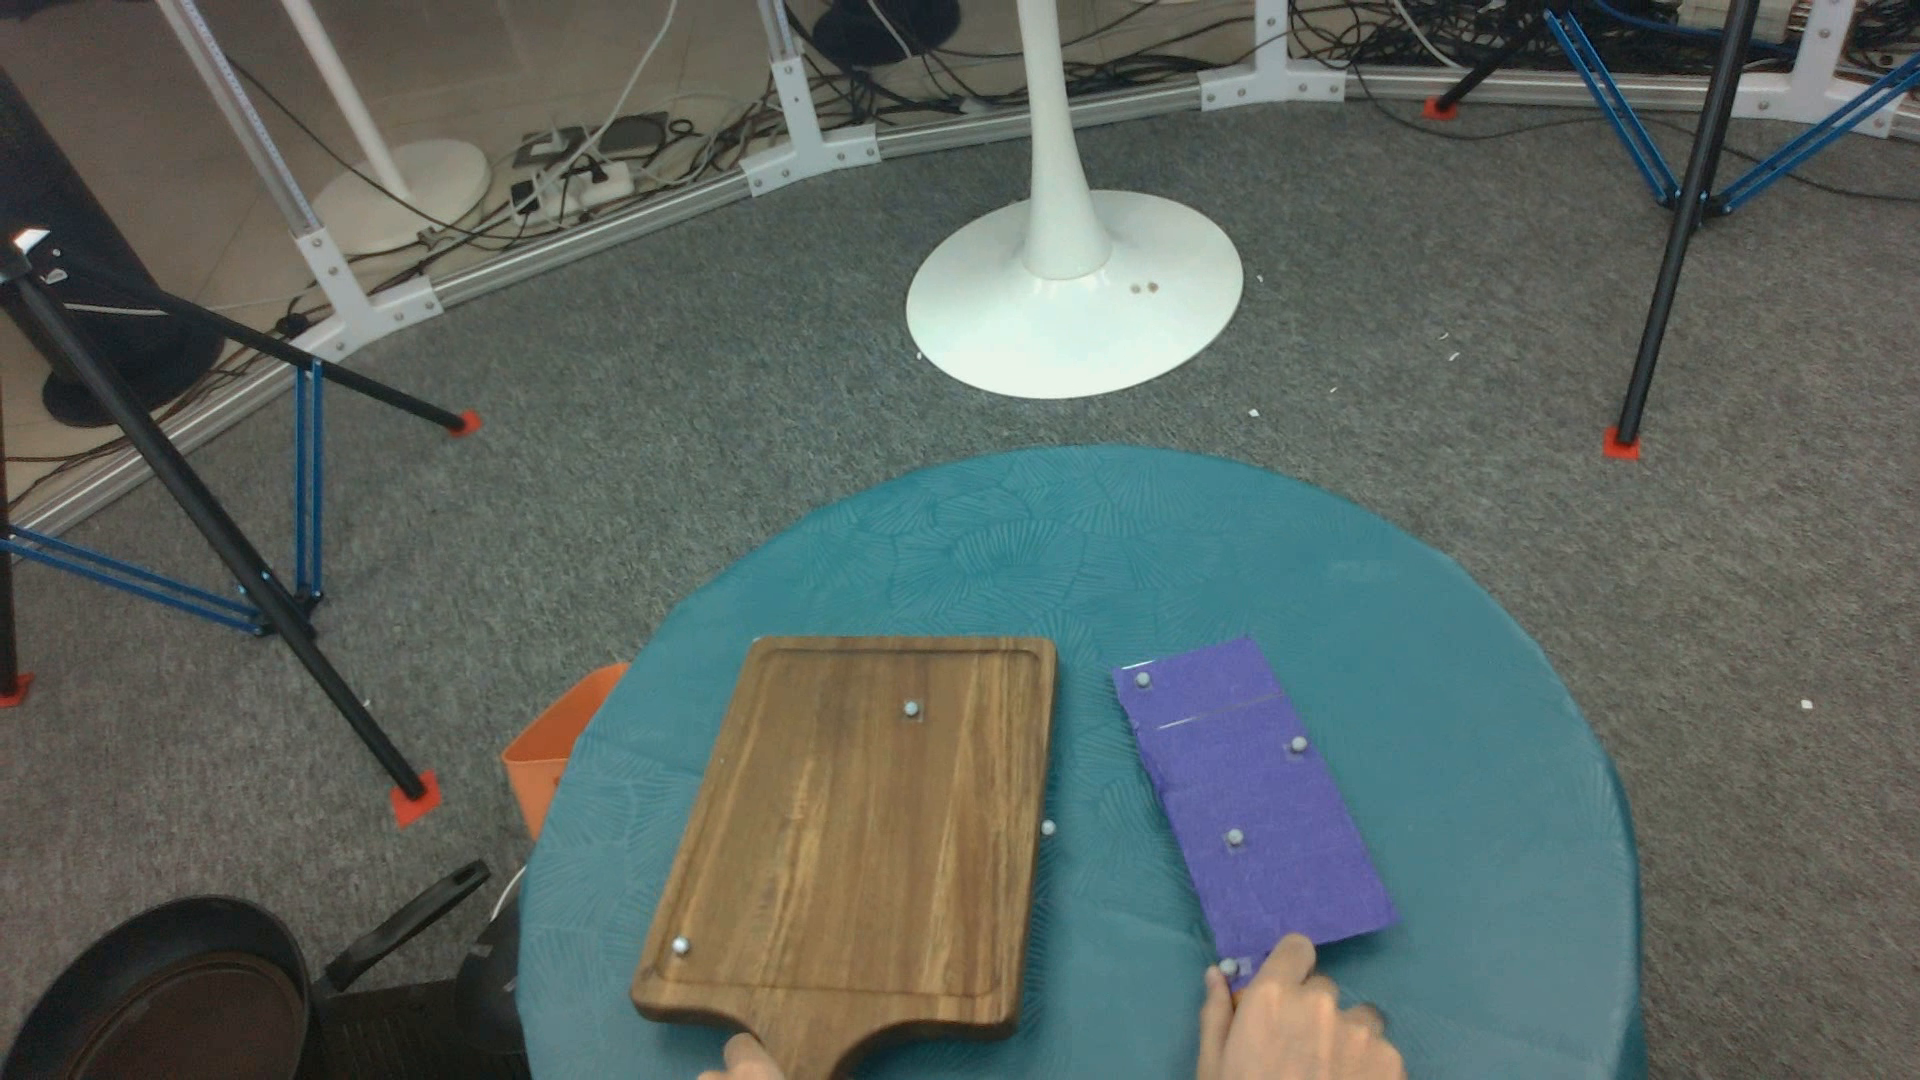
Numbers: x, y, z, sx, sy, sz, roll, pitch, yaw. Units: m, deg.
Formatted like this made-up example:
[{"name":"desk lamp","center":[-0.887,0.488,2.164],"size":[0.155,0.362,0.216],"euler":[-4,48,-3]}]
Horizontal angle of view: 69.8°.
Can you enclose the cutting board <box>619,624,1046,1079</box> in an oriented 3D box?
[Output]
[{"name":"cutting board","center":[-0.066,0.177,0.724],"size":[0.201,0.023,0.354],"euler":[0,43,11]}]

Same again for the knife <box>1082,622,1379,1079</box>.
[{"name":"knife","center":[0.154,0.154,0.708],"size":[0.104,0.032,0.316],"euler":[-15,43,-3]}]
